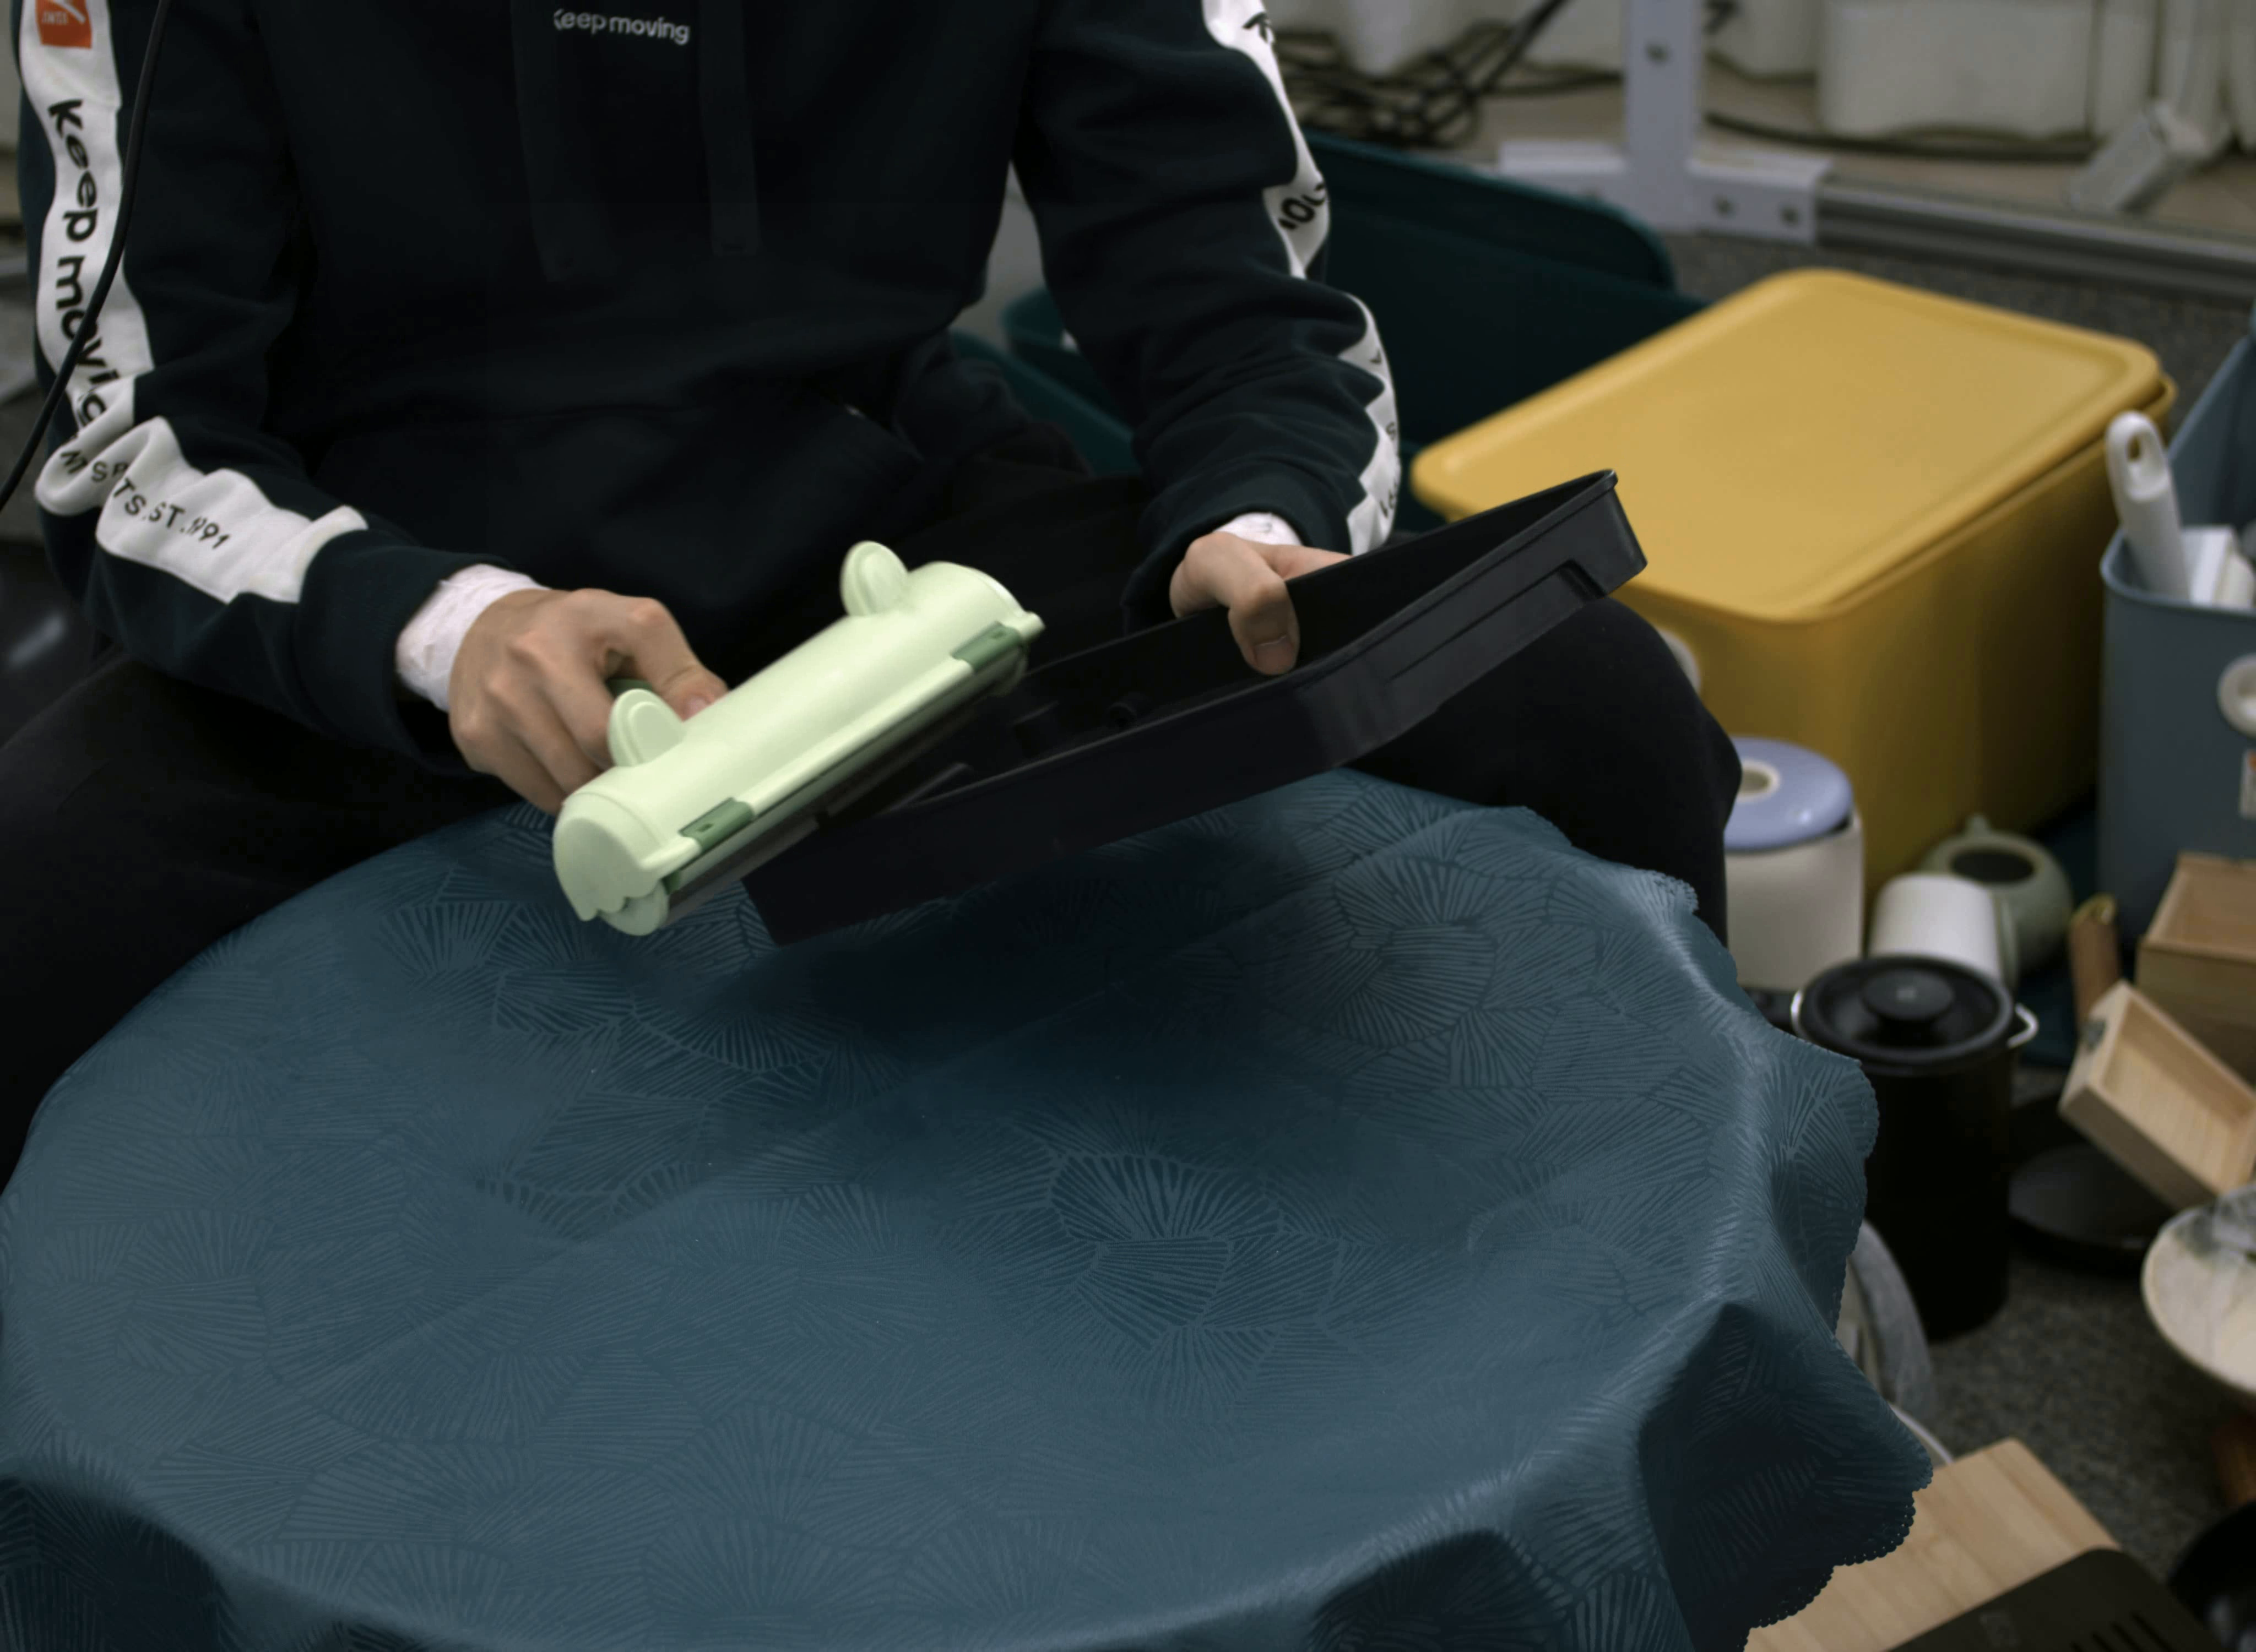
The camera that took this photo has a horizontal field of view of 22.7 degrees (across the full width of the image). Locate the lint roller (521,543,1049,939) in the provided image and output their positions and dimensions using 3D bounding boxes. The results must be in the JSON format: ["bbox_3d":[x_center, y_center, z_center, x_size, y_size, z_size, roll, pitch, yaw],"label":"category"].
[{"bbox_3d":[-0.154,-0.045,1.967,0.182,0.081,0.201,16,37,39],"label":"lint roller"}]

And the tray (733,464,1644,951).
[{"bbox_3d":[0.017,-0.038,1.931,0.313,0.037,0.187,-19,11,45],"label":"tray"}]
